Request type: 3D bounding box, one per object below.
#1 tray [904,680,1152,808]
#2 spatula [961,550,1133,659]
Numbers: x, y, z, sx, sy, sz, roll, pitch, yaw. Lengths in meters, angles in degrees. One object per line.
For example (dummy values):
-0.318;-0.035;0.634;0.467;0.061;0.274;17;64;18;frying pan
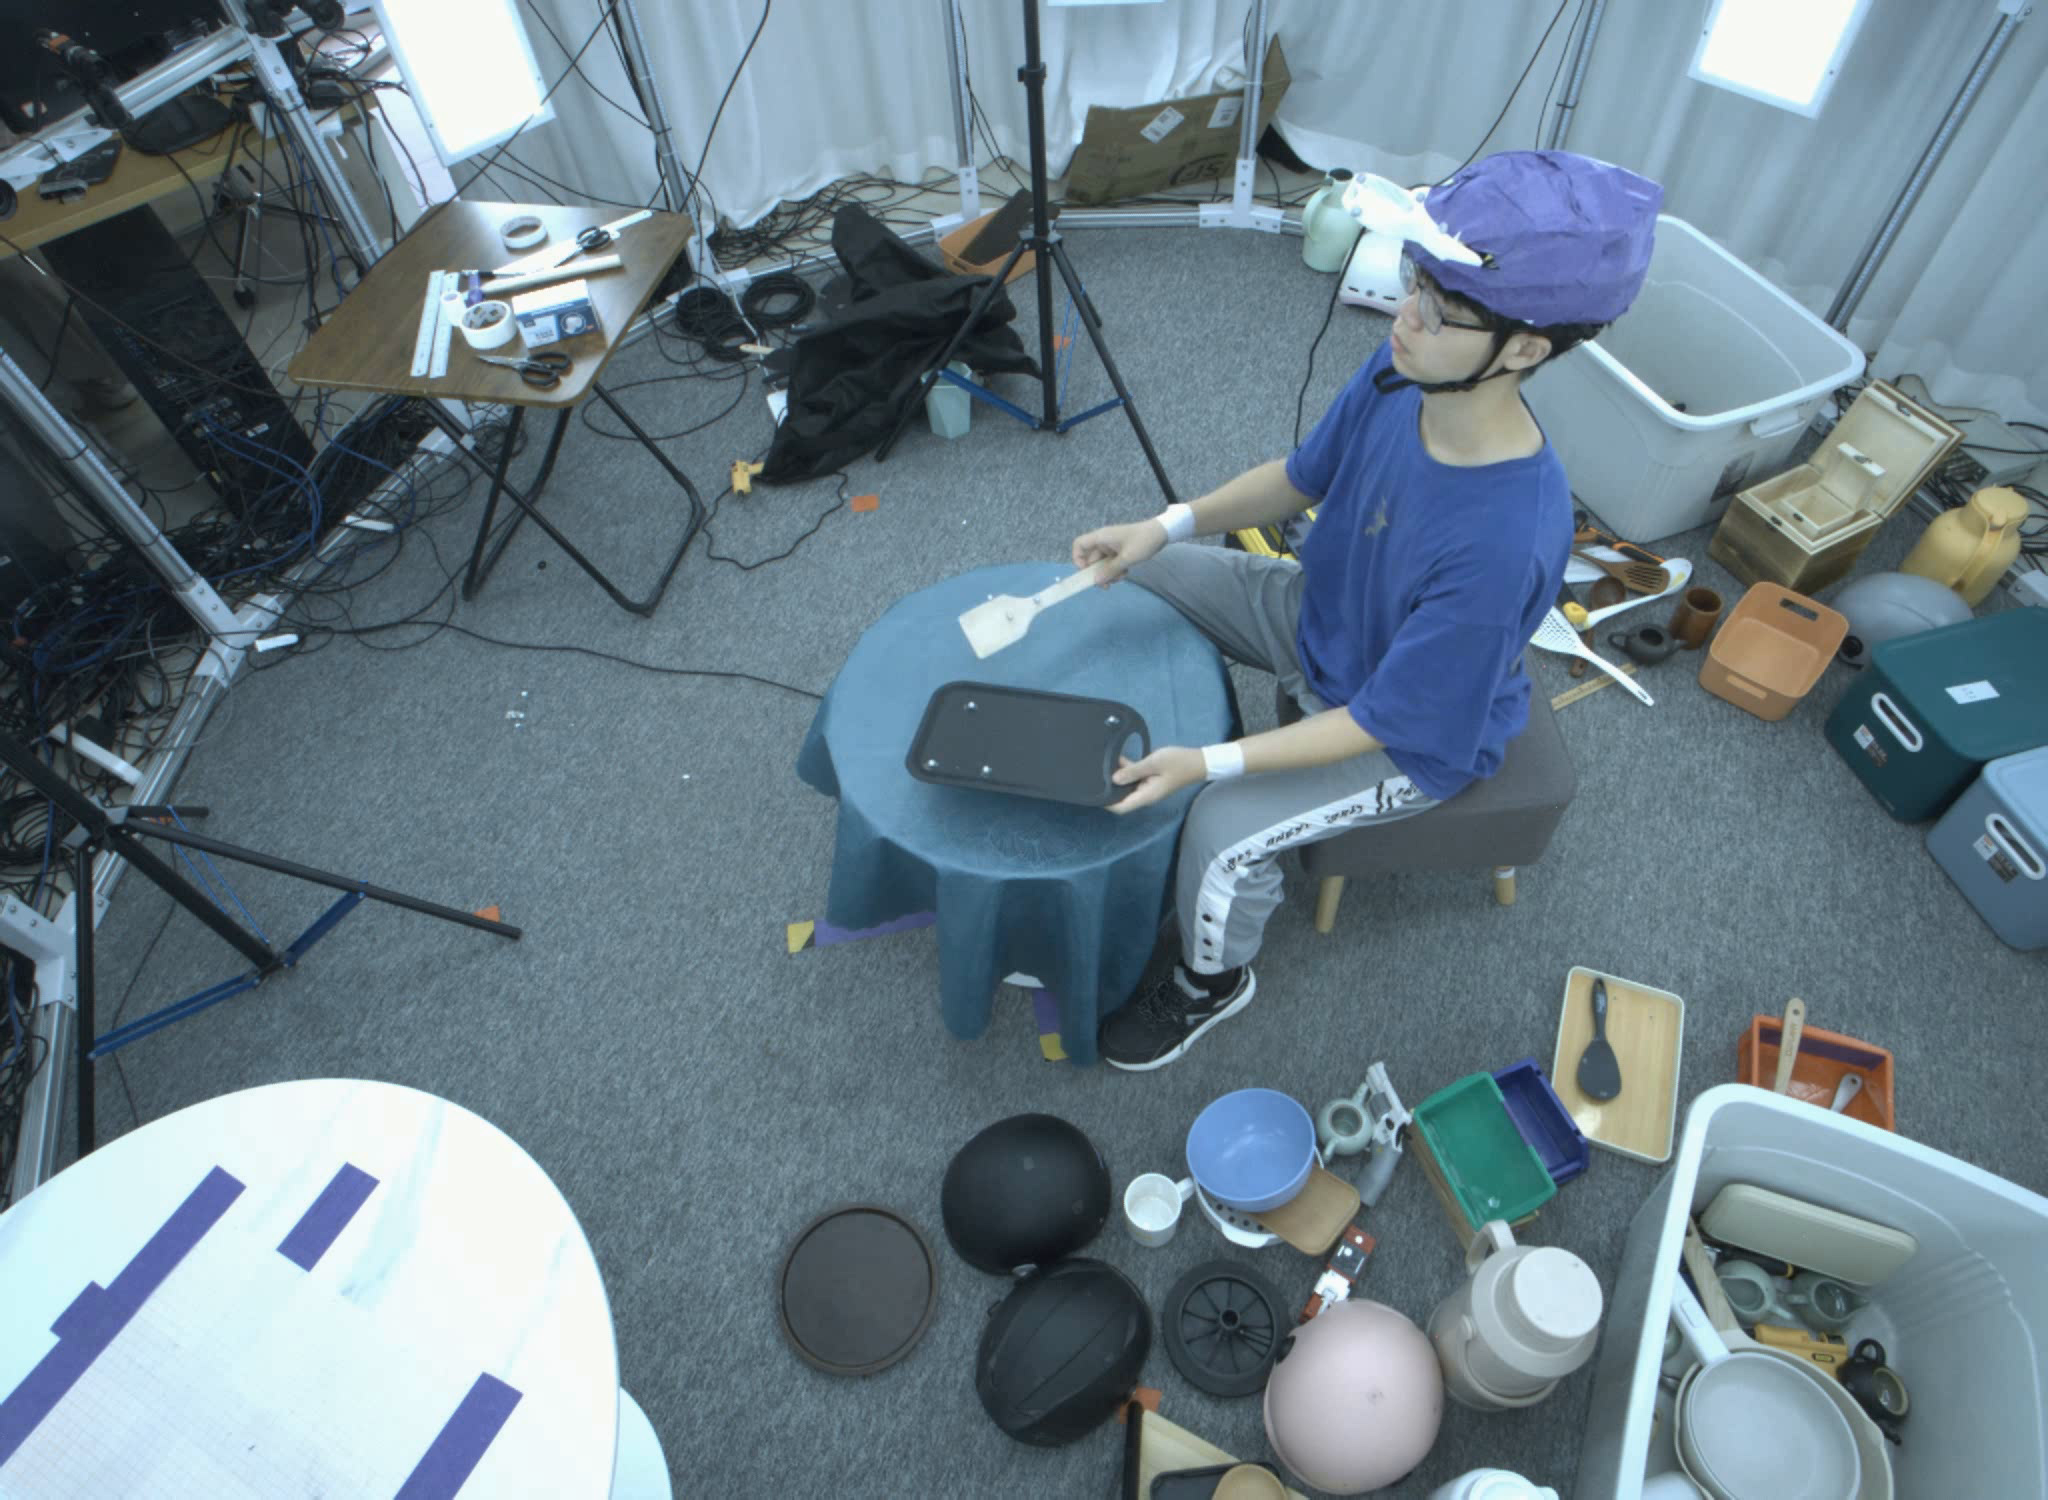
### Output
0.011;-0.012;1.679;0.323;0.010;0.210;9;46;9;tray
0.041;-0.227;1.810;0.296;0.010;0.072;-30;94;-21;spatula
